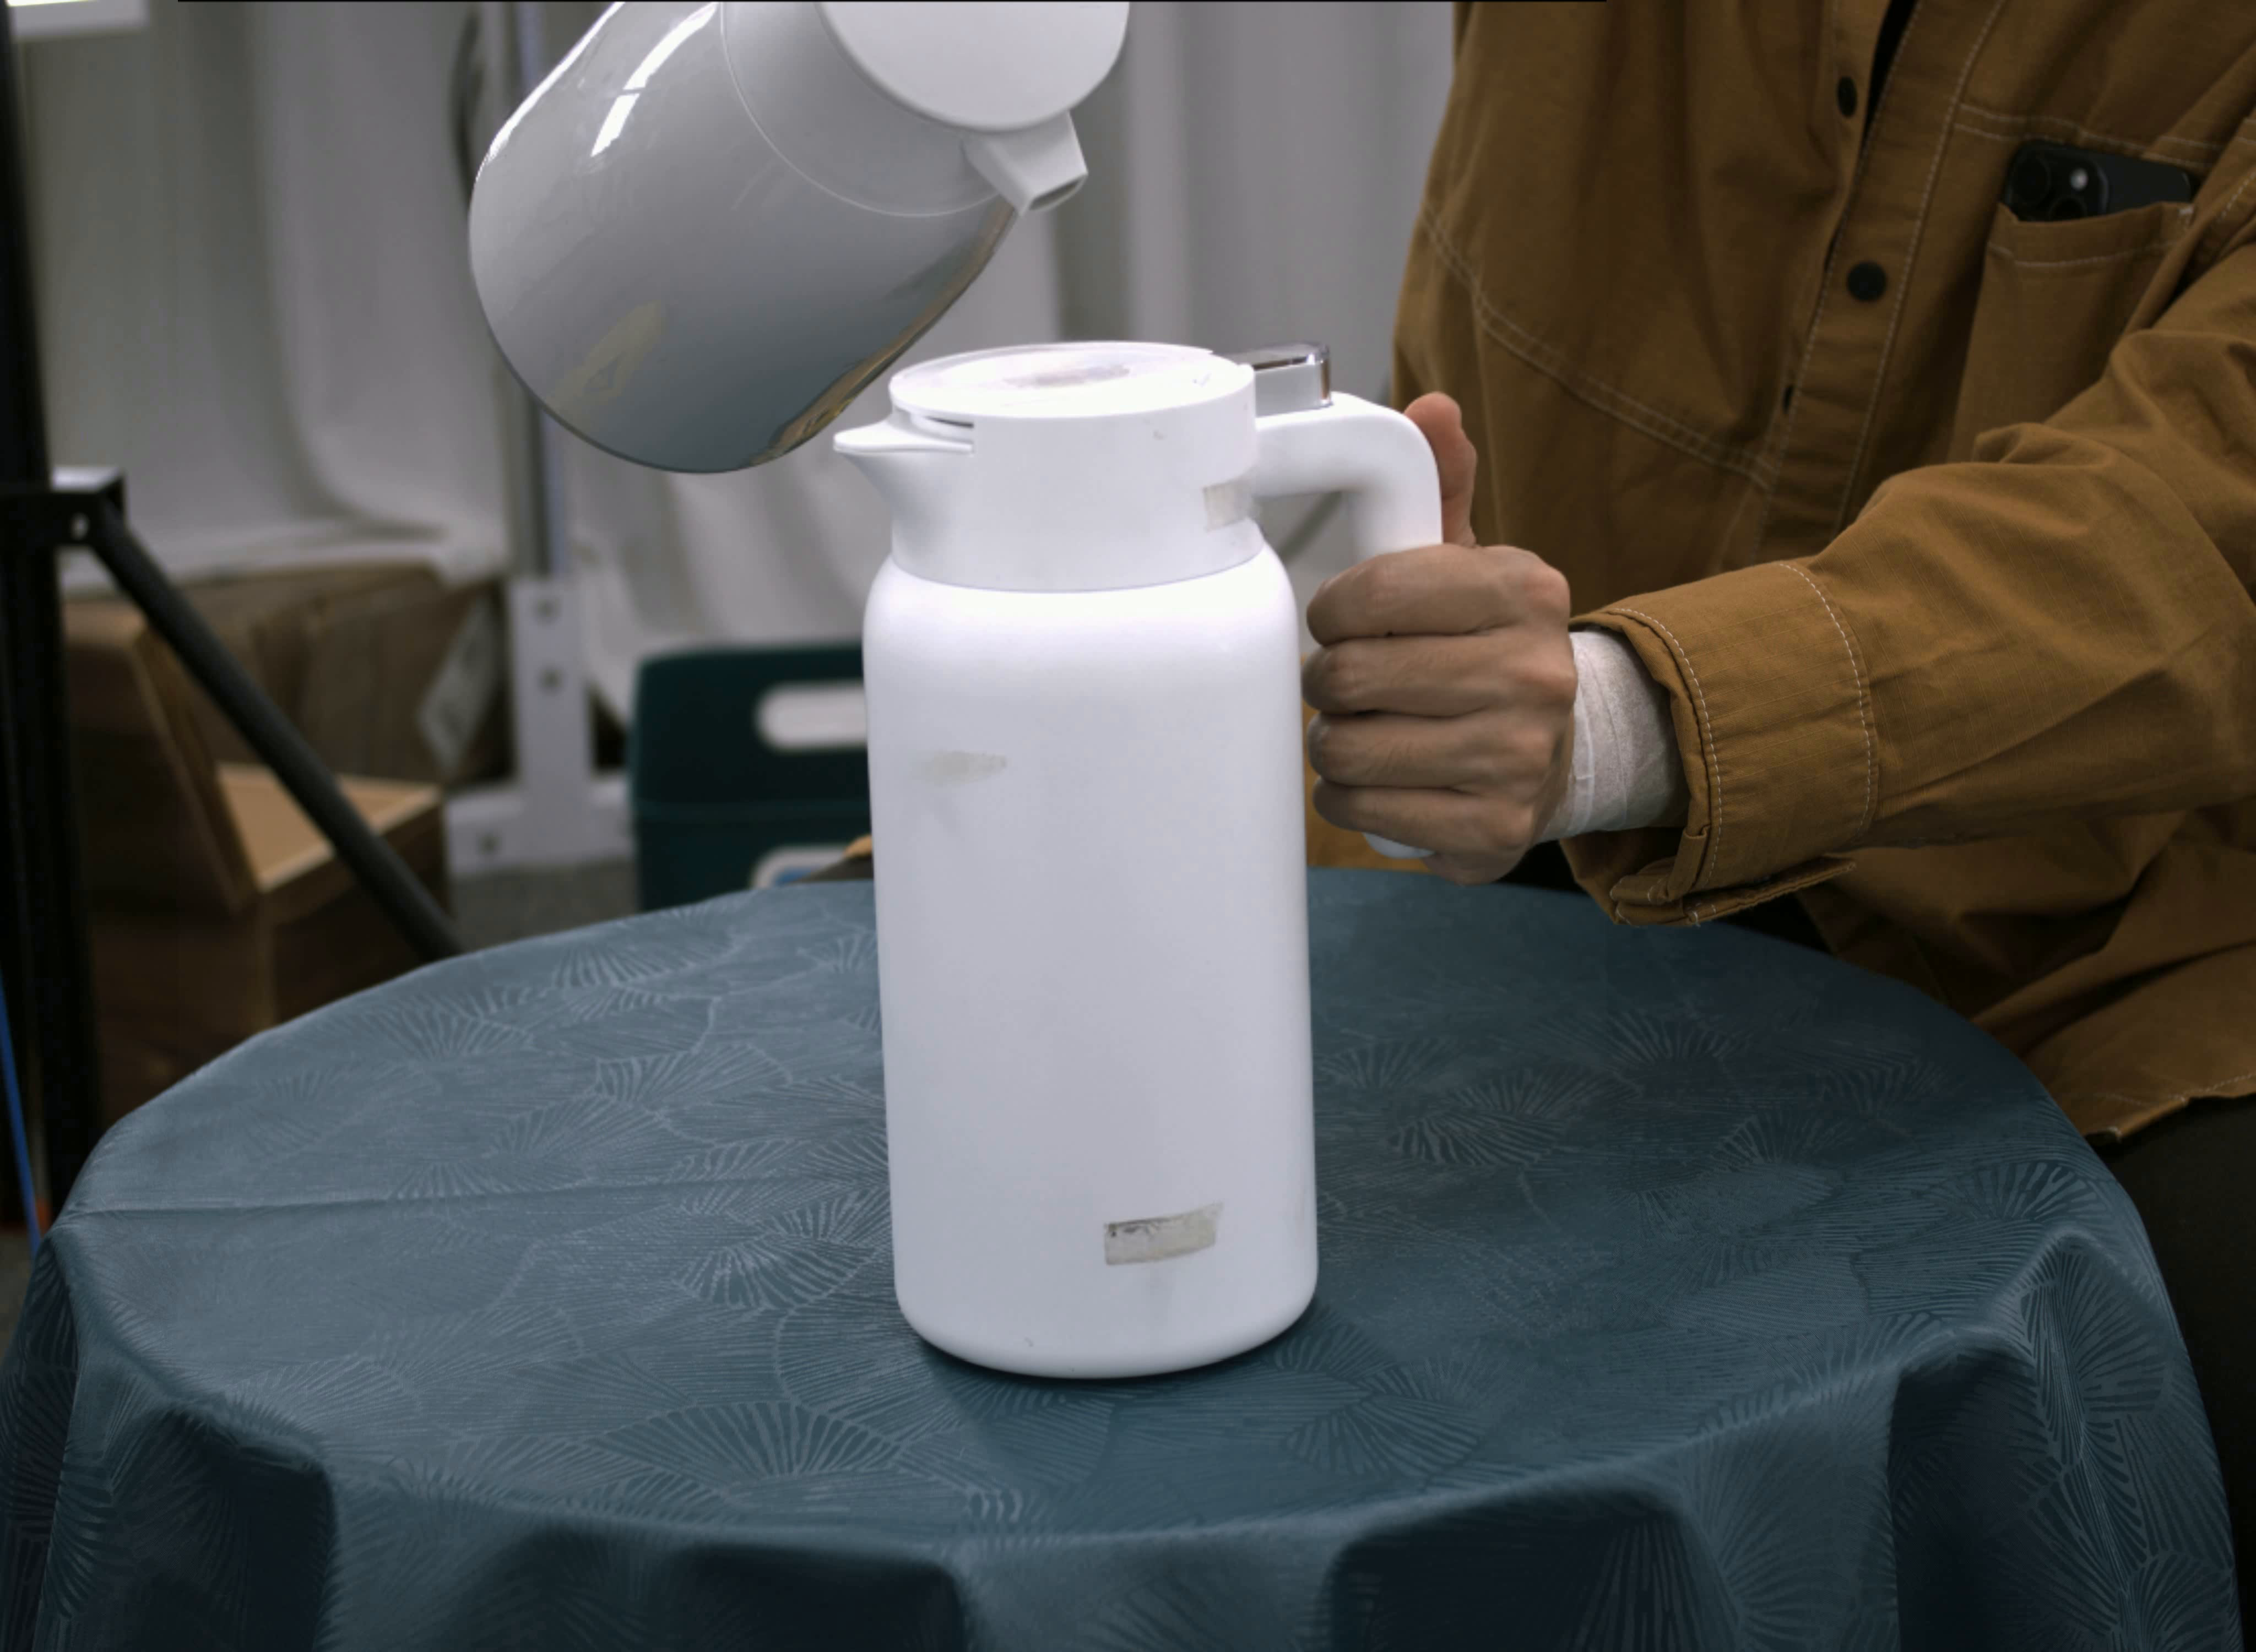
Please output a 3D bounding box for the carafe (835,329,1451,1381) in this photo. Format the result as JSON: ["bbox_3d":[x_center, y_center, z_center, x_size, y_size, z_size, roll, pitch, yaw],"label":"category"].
[{"bbox_3d":[0.006,0.004,1.434,0.169,0.269,0.126,-9,14,-24],"label":"carafe"}]

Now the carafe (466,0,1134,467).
[{"bbox_3d":[-0.096,-0.216,1.497,0.130,0.168,0.251,-27,-3,-27],"label":"carafe"}]
